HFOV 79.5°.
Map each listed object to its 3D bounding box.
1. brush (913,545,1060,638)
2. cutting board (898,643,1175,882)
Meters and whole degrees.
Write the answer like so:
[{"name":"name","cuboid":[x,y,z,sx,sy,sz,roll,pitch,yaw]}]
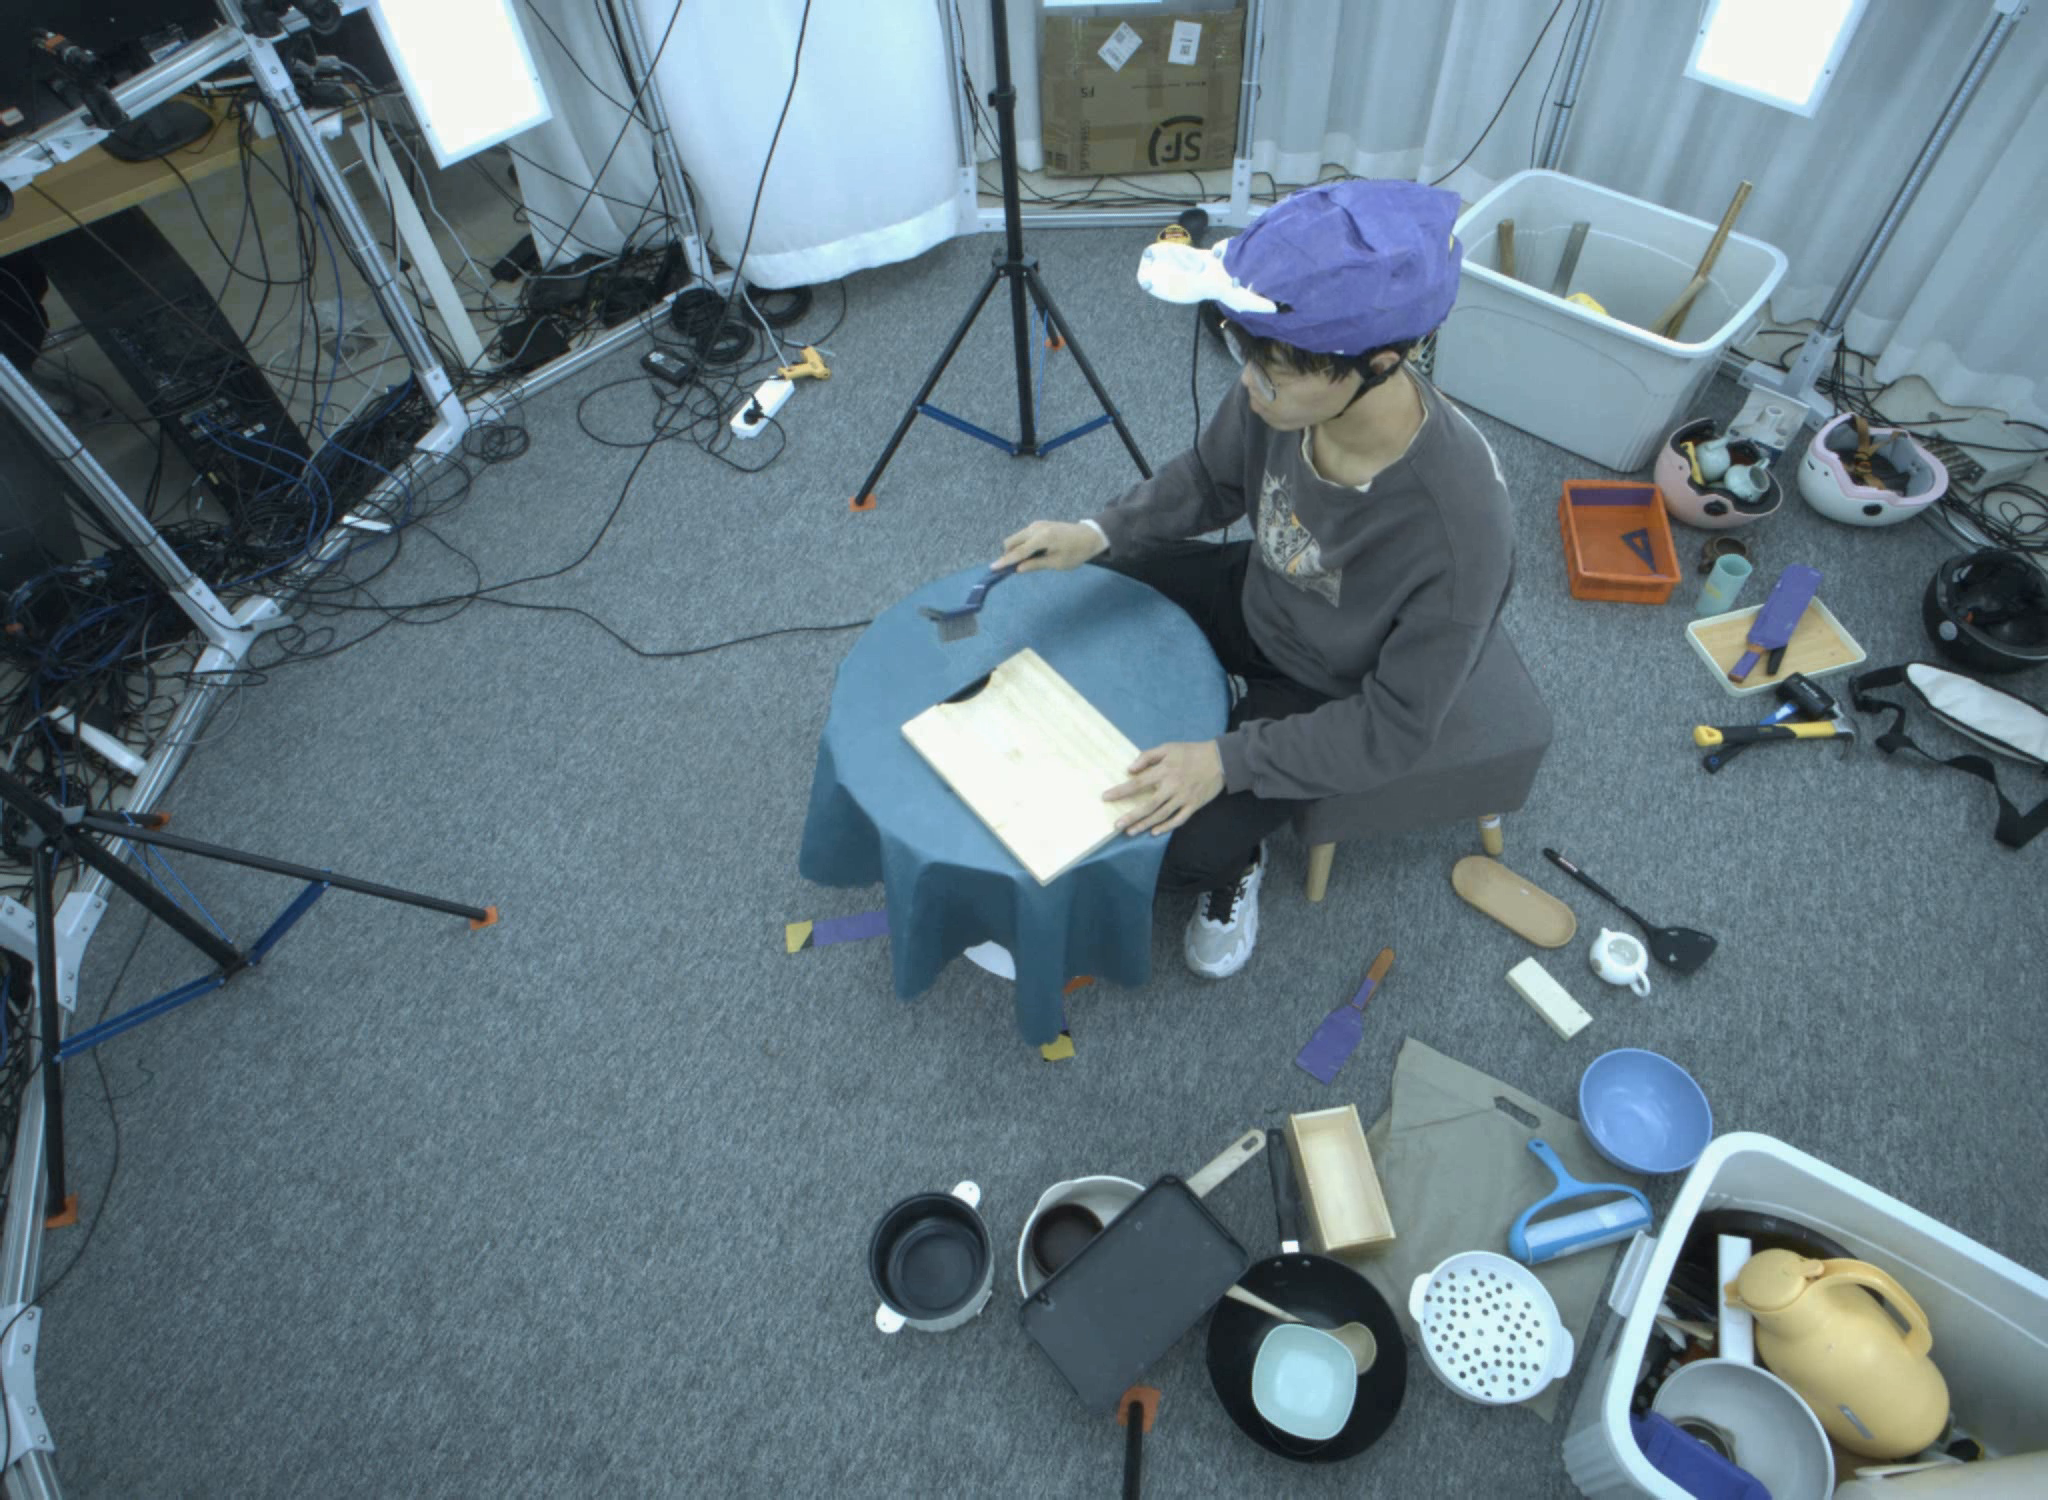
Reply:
[{"name":"brush","cuboid":[-0.049,-0.253,1.797,0.033,0.097,0.275,5,42,45]},{"name":"cutting board","cuboid":[0.013,0.009,1.768,0.253,0.024,0.342,-34,60,-21]}]
